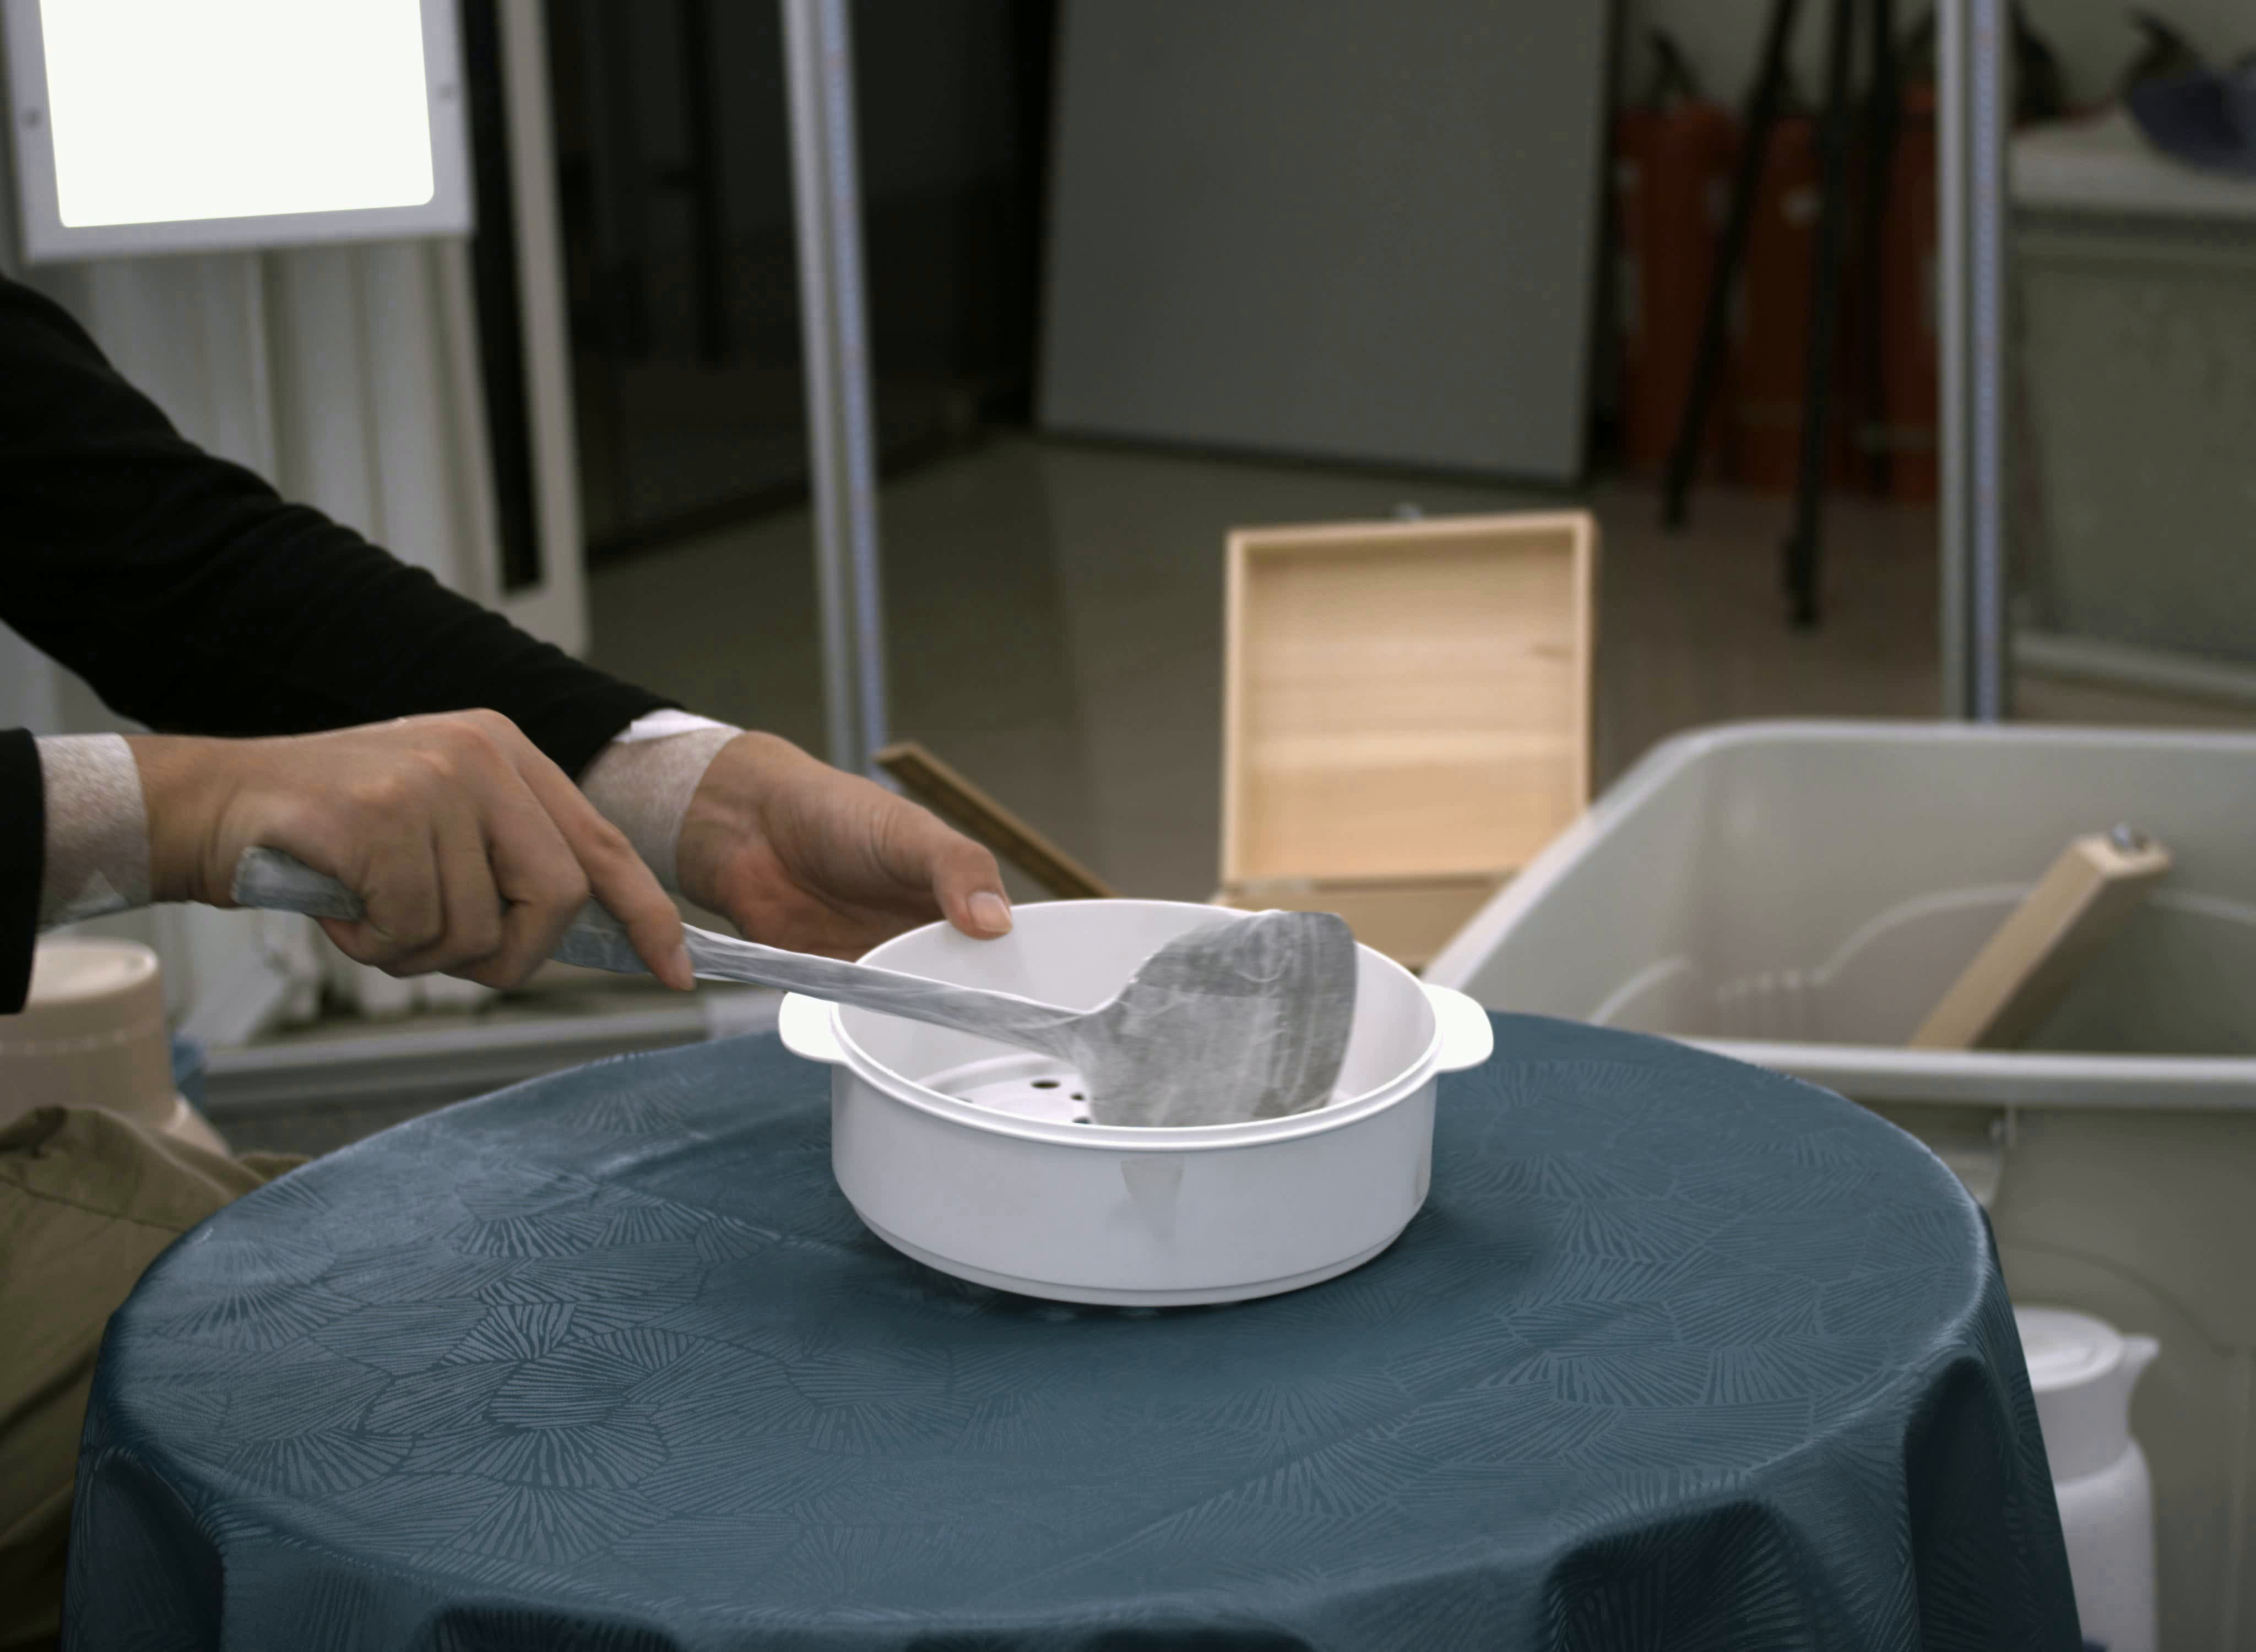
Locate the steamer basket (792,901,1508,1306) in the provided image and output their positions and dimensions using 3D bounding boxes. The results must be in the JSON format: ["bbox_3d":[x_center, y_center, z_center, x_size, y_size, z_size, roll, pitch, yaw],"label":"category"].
[{"bbox_3d":[0.007,0.088,1.722,0.227,0.070,0.202,0,19,0],"label":"steamer basket"}]

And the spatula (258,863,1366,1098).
[{"bbox_3d":[-0.089,0.047,1.647,0.357,0.100,0.045,12,13,-18],"label":"spatula"}]
